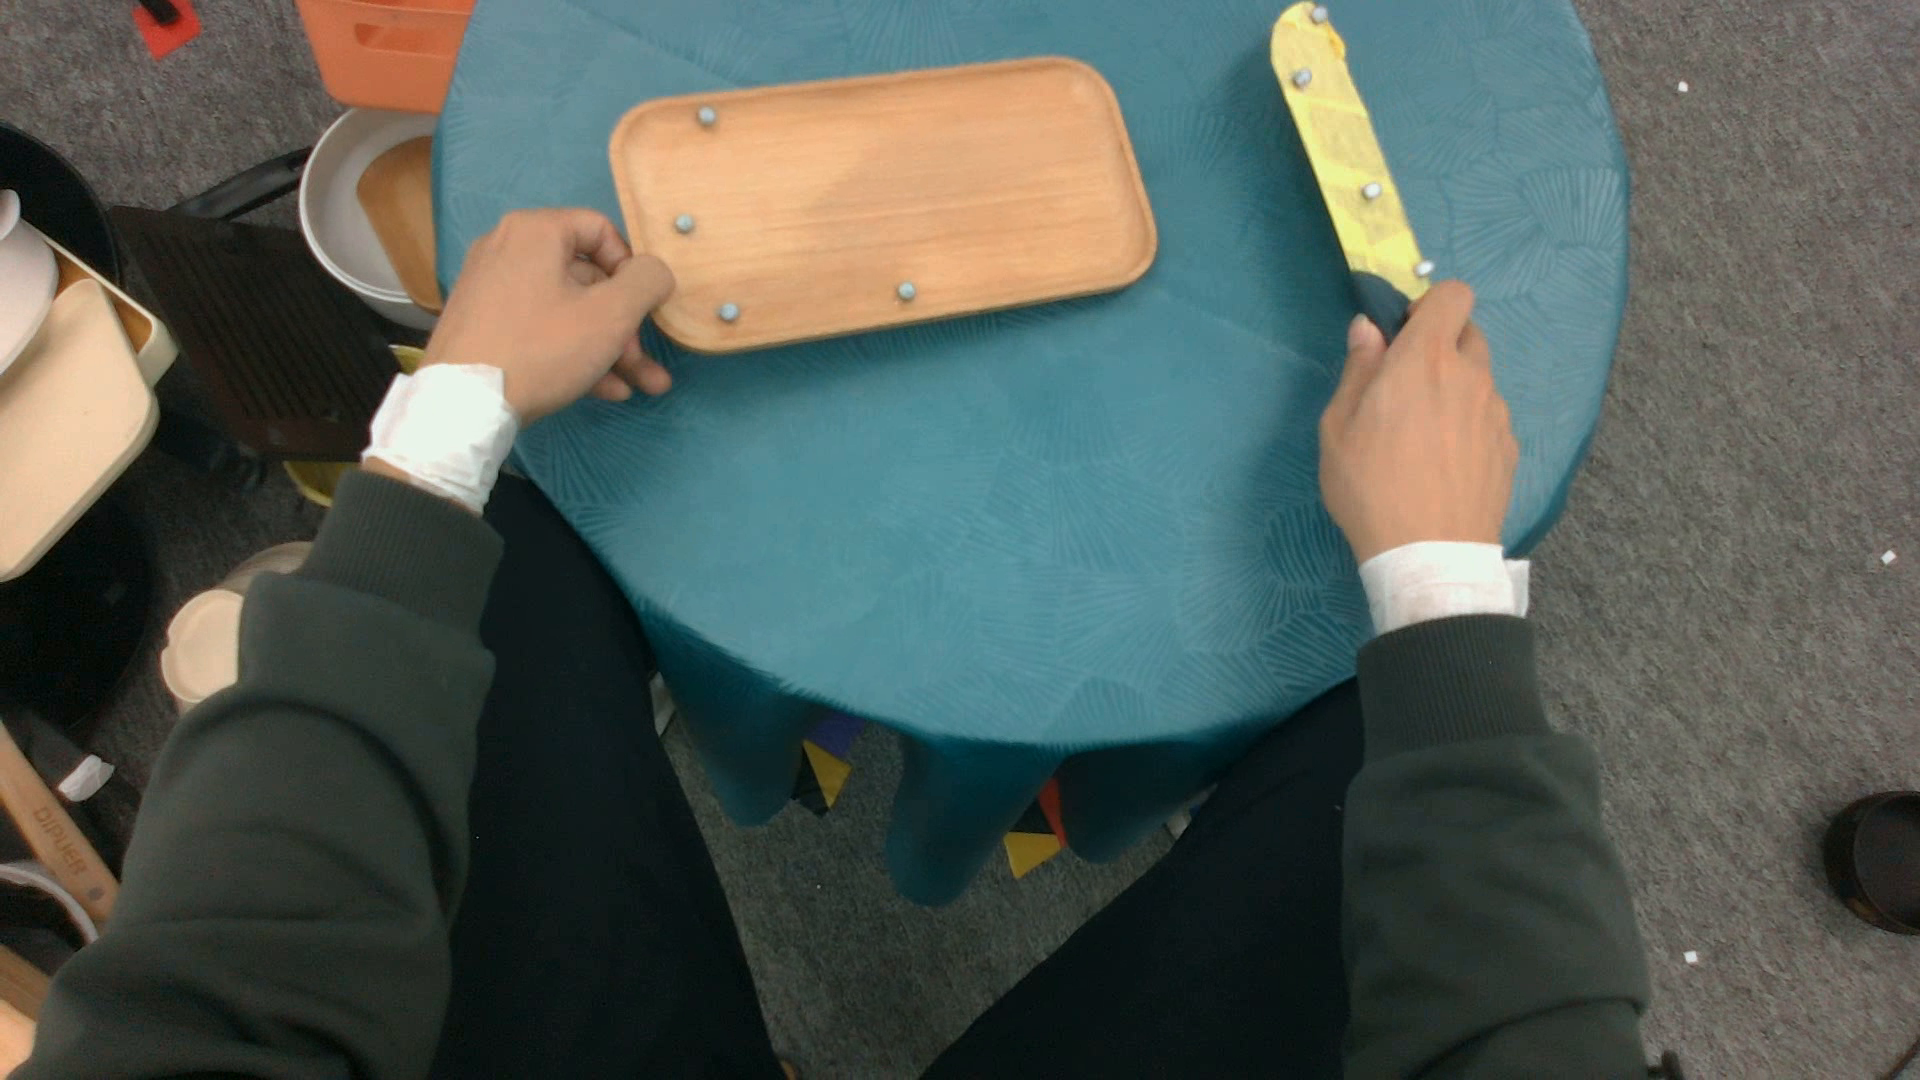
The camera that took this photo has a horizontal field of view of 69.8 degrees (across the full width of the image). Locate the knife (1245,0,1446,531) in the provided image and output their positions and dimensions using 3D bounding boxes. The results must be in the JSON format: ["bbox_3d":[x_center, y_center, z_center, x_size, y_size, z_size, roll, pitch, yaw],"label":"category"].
[{"bbox_3d":[0.188,-0.143,0.667,0.081,0.027,0.290,-2,74,-47],"label":"knife"}]

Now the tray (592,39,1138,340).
[{"bbox_3d":[-0.041,-0.170,0.656,0.251,0.023,0.130,-12,80,-18],"label":"tray"}]
